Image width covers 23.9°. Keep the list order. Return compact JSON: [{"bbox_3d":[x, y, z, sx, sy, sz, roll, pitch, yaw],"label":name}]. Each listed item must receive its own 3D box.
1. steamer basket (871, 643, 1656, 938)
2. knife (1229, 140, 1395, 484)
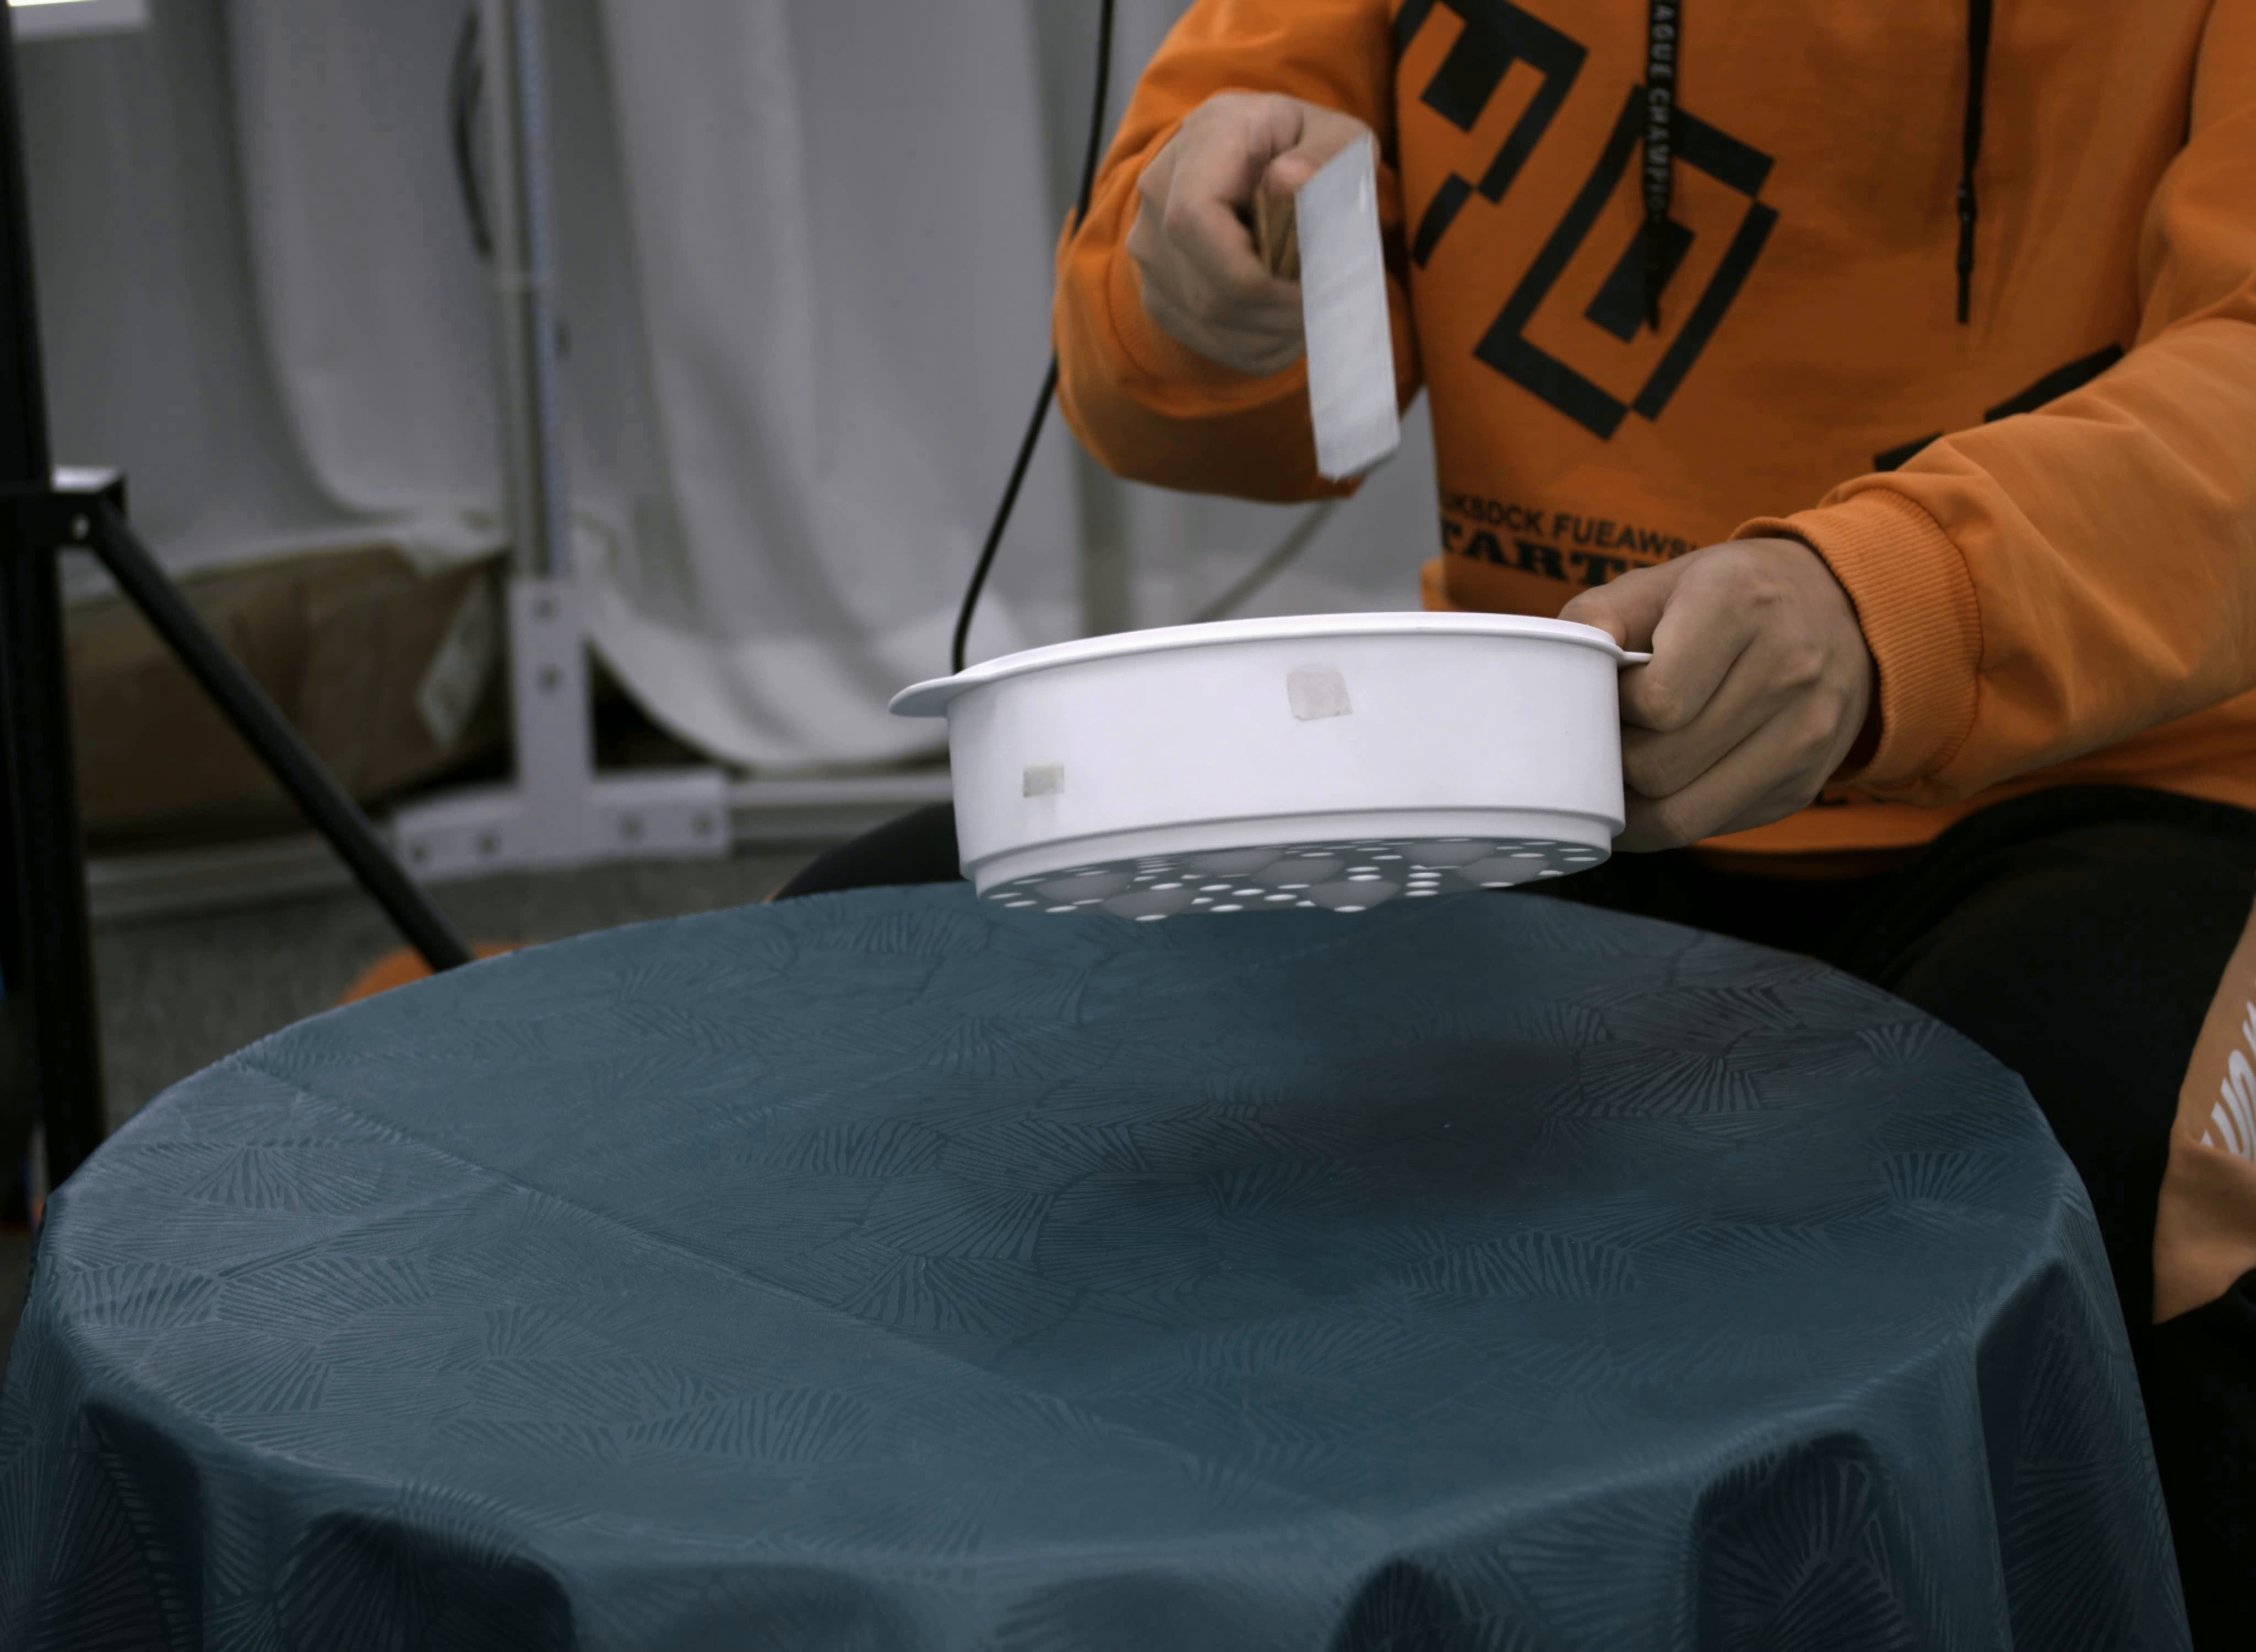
[{"bbox_3d":[0.042,-0.007,1.536,0.227,0.069,0.203,-4,-4,-13],"label":"steamer basket"},{"bbox_3d":[0.058,-0.150,1.620,0.021,0.093,0.306,-7,3,-4],"label":"knife"}]
